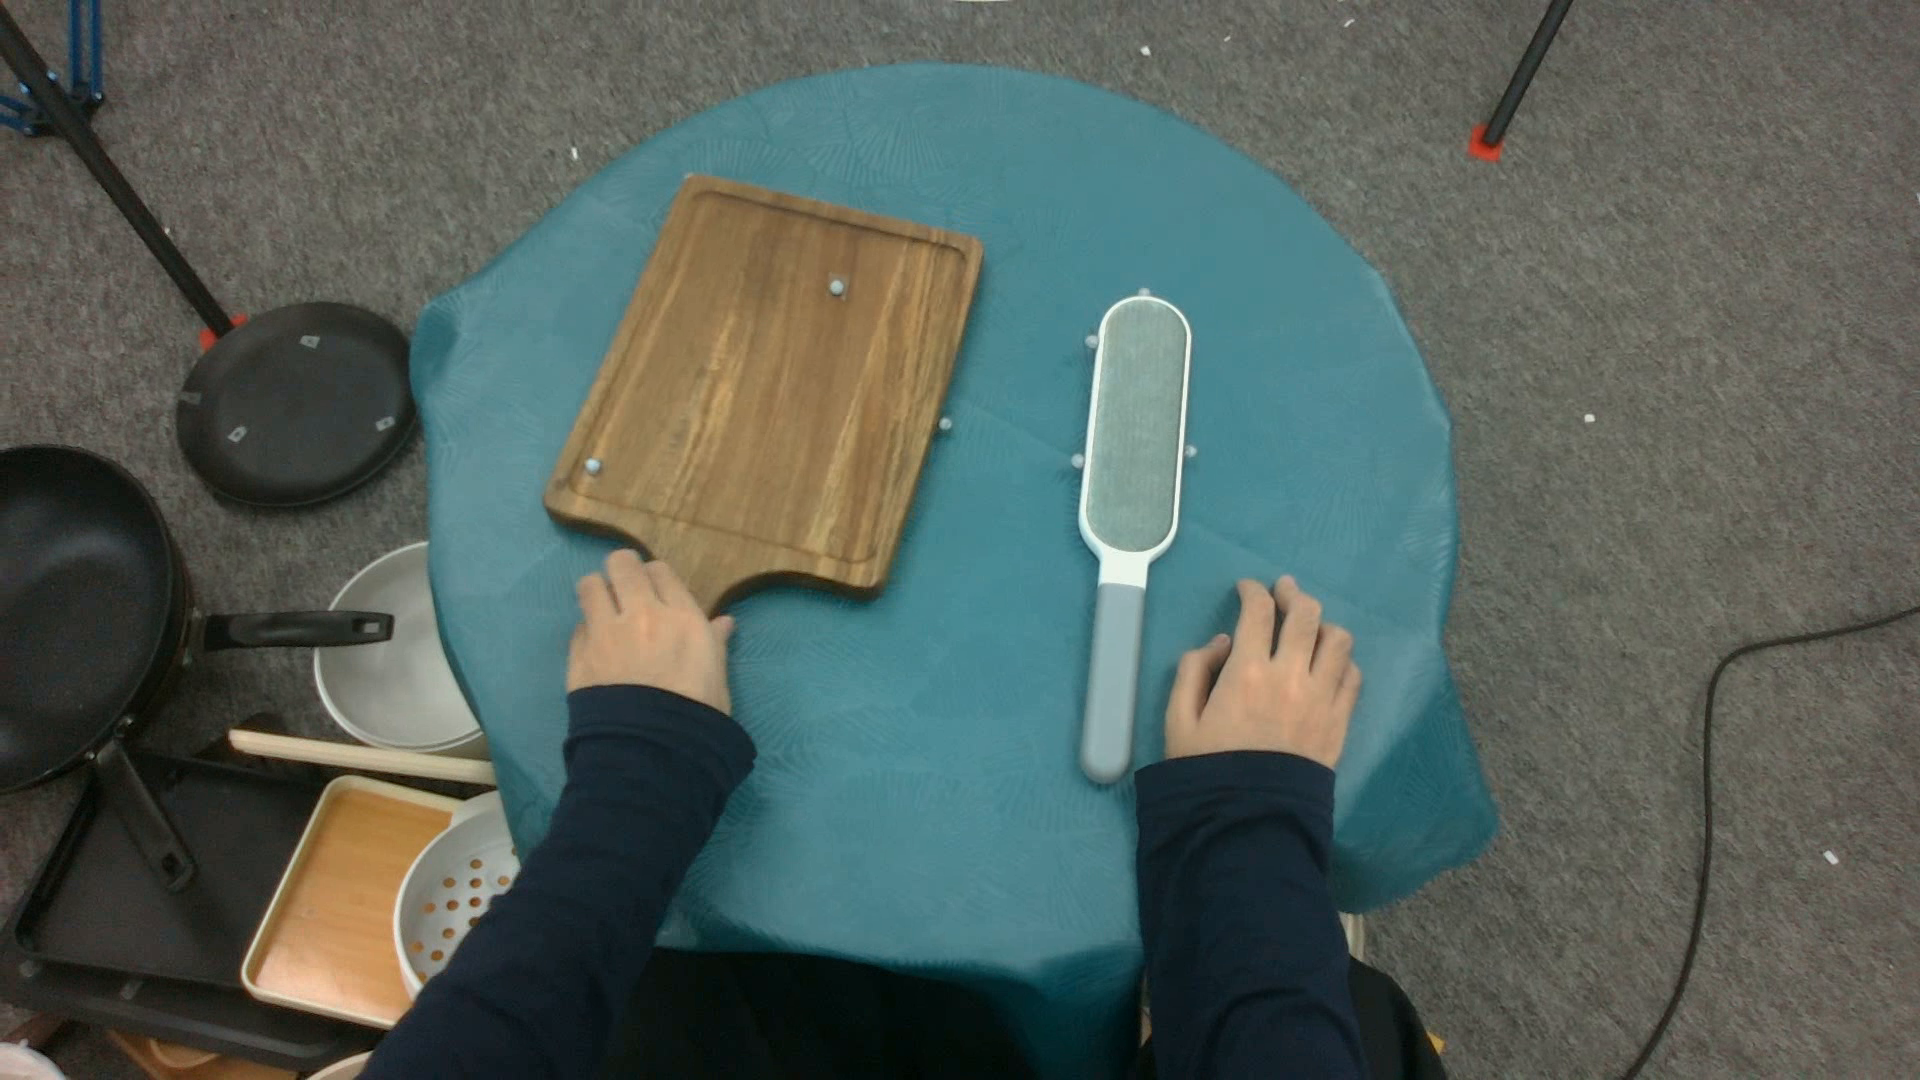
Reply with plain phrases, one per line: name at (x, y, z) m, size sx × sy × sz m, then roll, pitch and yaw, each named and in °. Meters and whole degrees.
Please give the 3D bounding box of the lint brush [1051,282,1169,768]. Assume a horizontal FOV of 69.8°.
lint brush at (0.080, -0.020, 0.782) m, size 0.060 × 0.021 × 0.310 m, roll 11°, pitch 63°, yaw -5°

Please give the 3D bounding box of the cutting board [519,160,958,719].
cutting board at (-0.133, -0.064, 0.788) m, size 0.201 × 0.023 × 0.353 m, roll 14°, pitch 63°, yaw 2°
